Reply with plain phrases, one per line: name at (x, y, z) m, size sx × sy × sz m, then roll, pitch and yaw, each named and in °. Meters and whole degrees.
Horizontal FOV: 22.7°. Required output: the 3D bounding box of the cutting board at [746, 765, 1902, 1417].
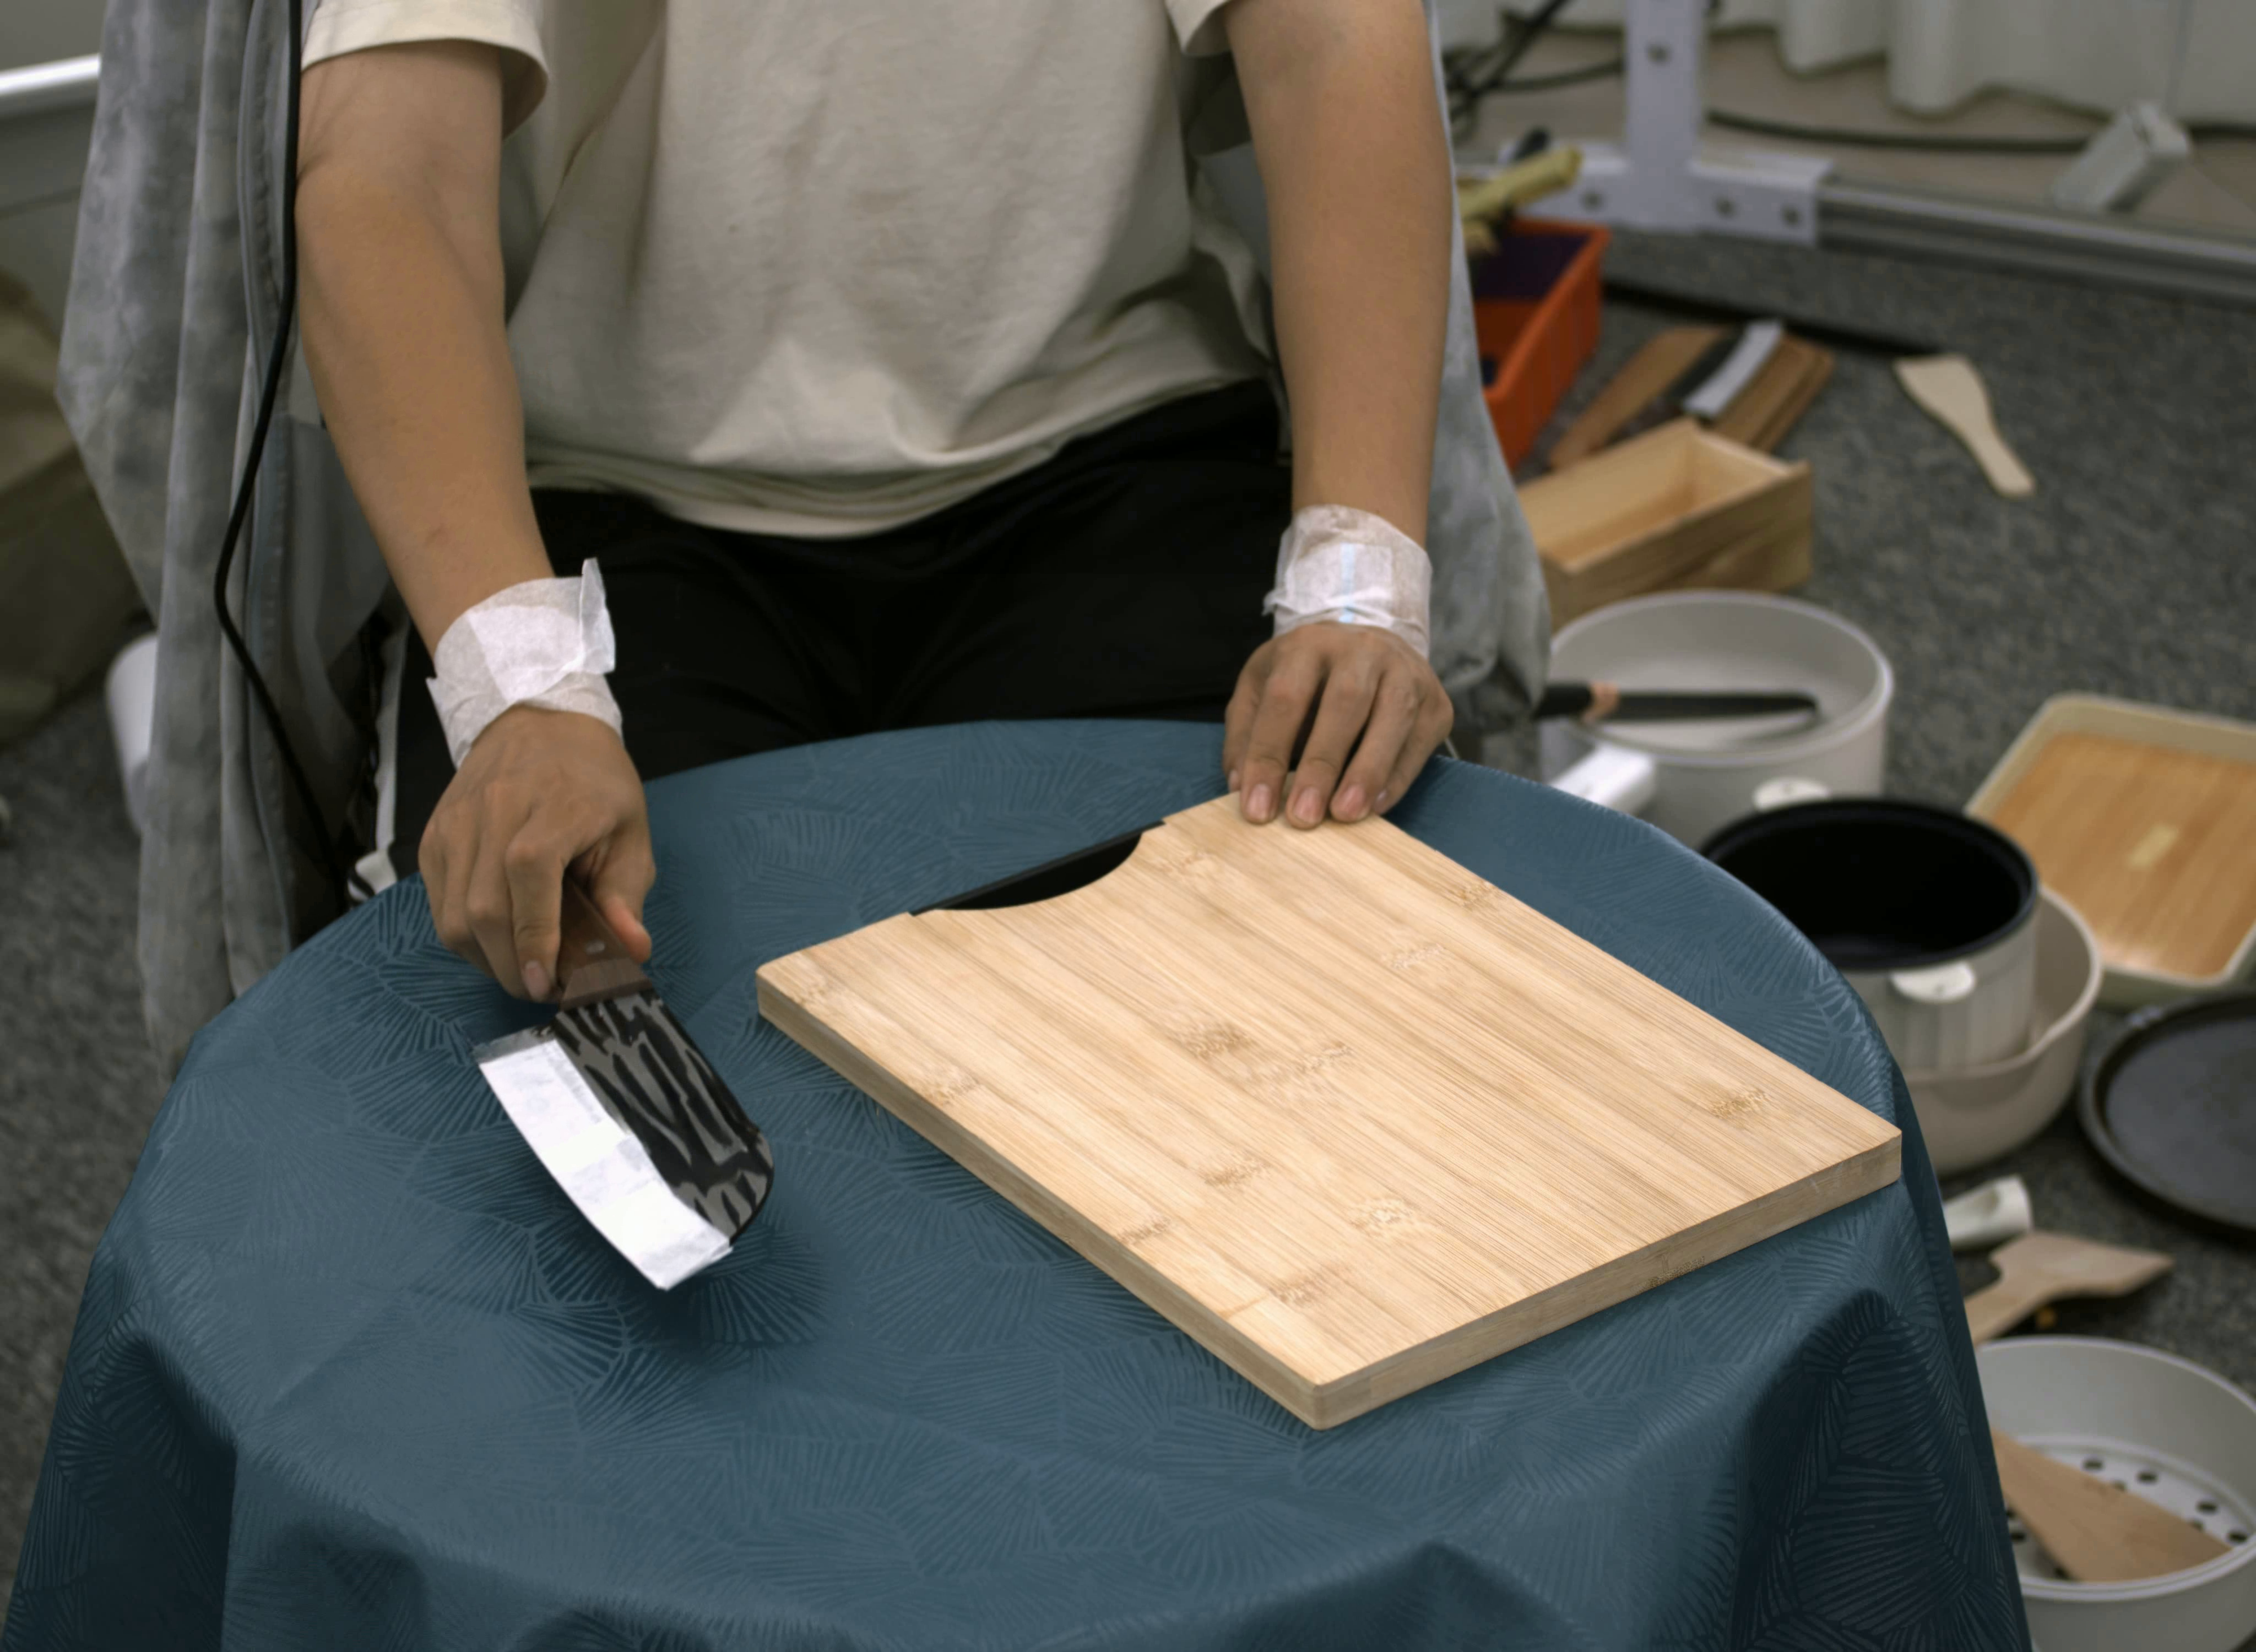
cutting board at (0.059, 0.082, 1.914) m, size 0.253 × 0.023 × 0.349 m, roll -20°, pitch 31°, yaw -30°

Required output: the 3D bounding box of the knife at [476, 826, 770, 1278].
knife at (-0.180, 0.074, 1.881) m, size 0.068 × 0.024 × 0.302 m, roll -19°, pitch 30°, yaw -14°
